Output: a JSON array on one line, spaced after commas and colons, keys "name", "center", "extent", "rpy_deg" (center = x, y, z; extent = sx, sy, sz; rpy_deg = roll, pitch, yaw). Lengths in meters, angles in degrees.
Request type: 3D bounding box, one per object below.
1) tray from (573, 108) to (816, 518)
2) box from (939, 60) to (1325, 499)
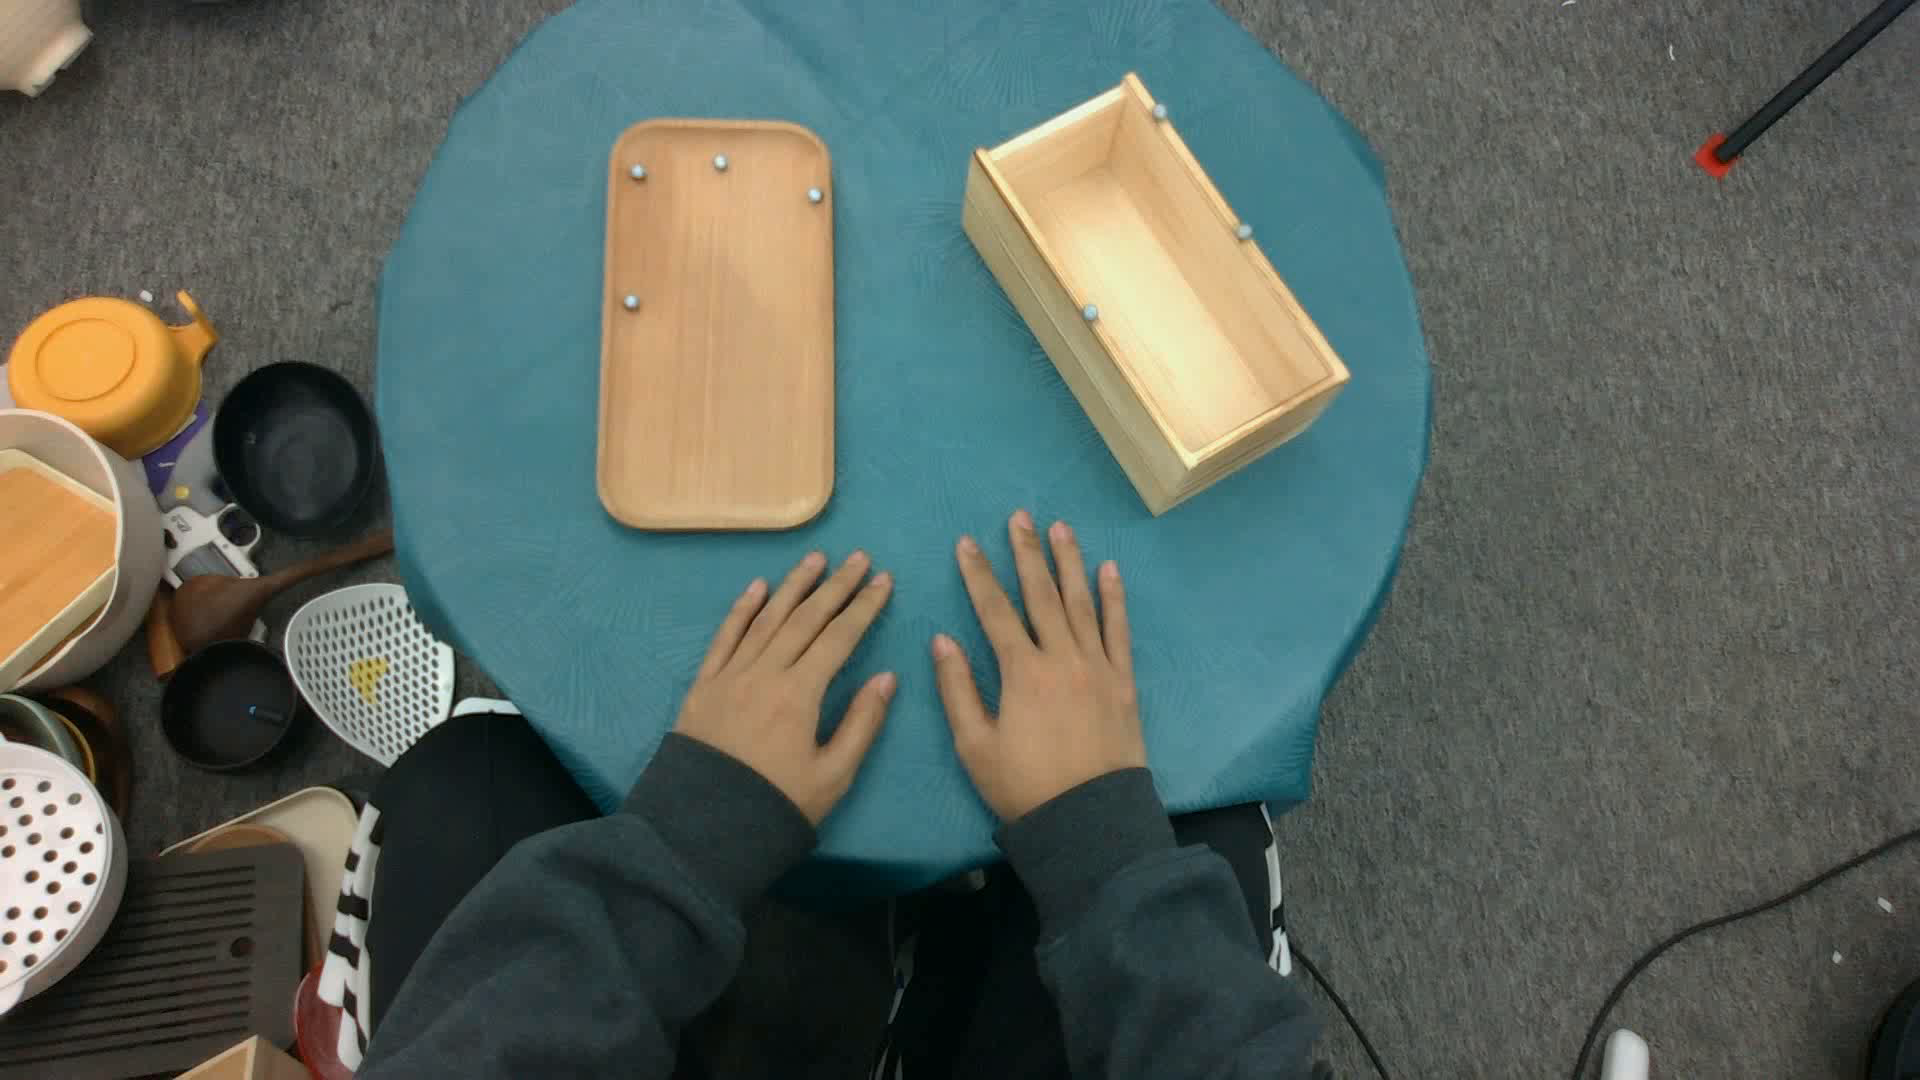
[{"name": "tray", "center": [-0.147, -0.131, 0.773], "extent": [0.130, 0.023, 0.251], "rpy_deg": [-1, 73, -3]}, {"name": "box", "center": [0.090, -0.144, 0.768], "extent": [0.108, 0.080, 0.211], "rpy_deg": [-30, 78, -13]}]
